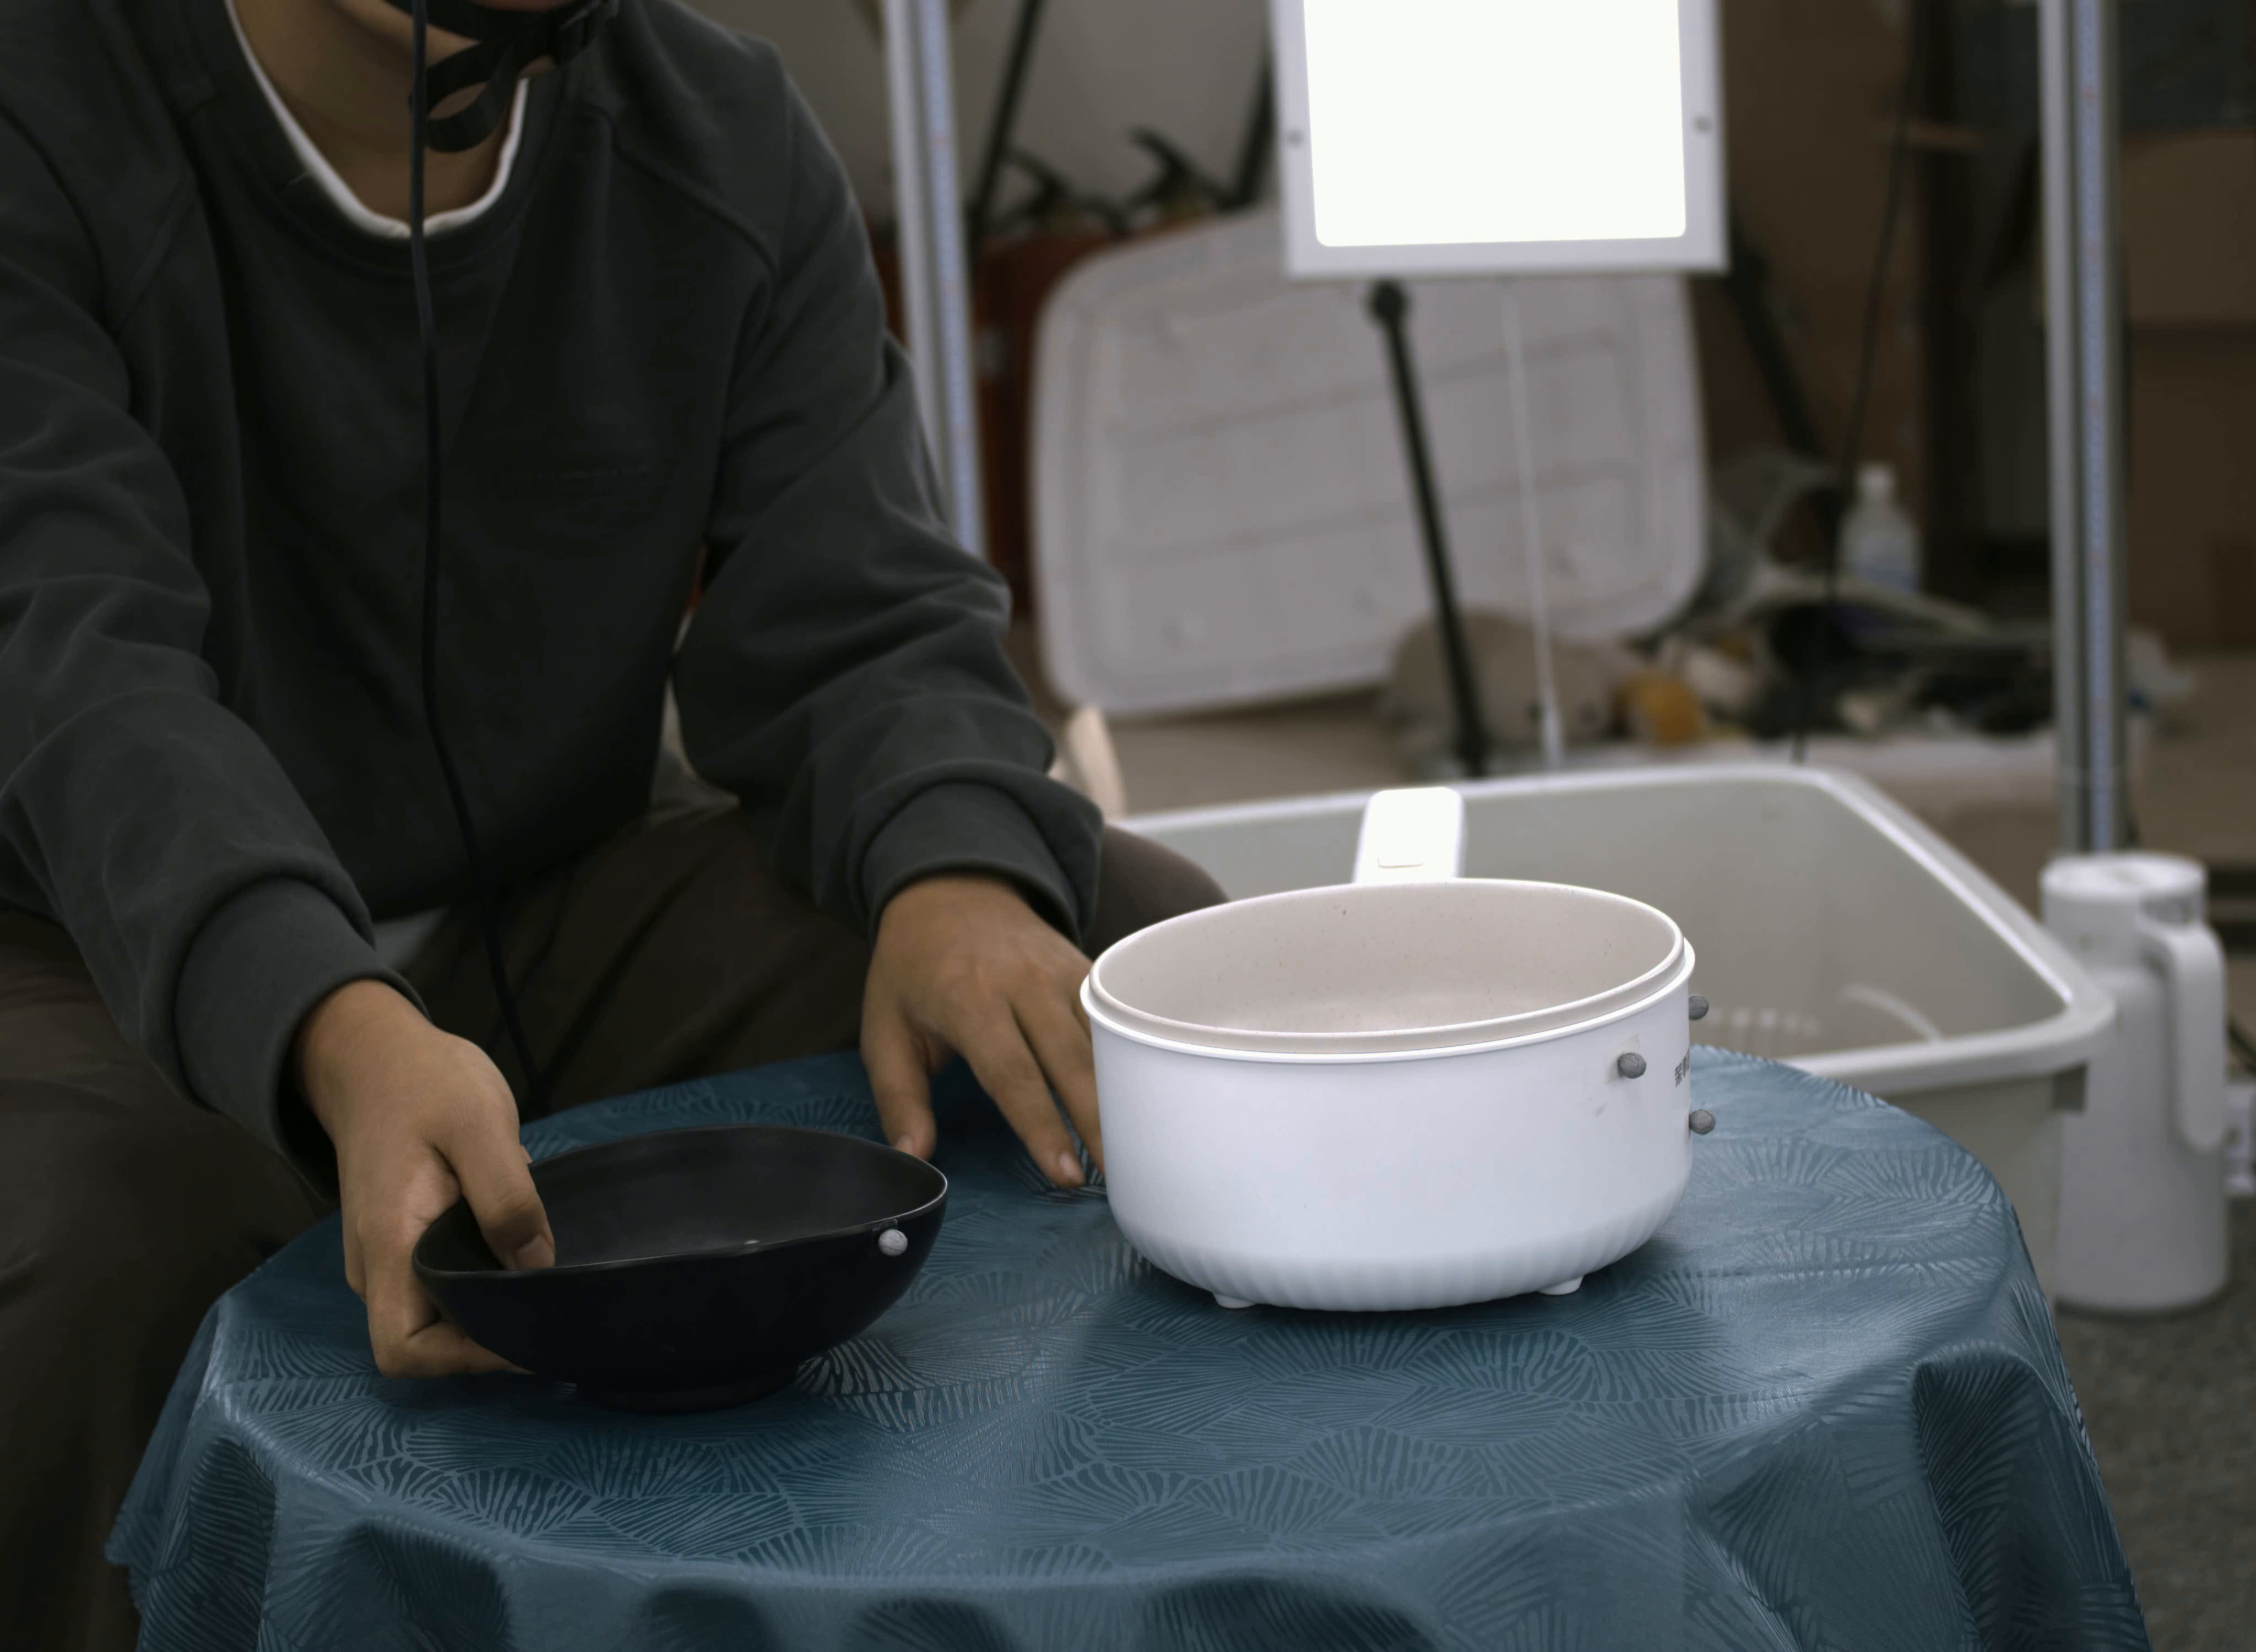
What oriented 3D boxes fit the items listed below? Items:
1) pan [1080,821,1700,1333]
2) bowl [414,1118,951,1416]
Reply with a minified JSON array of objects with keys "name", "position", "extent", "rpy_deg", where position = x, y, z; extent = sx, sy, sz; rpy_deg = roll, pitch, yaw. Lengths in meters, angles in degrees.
[{"name":"pan","position":[0.095,0.081,1.878],"extent":[0.202,0.102,0.352],"rpy_deg":[-7,11,7]},{"name":"bowl","position":[-0.137,0.144,1.734],"extent":[0.168,0.067,0.138],"rpy_deg":[-7,14,-10]}]
